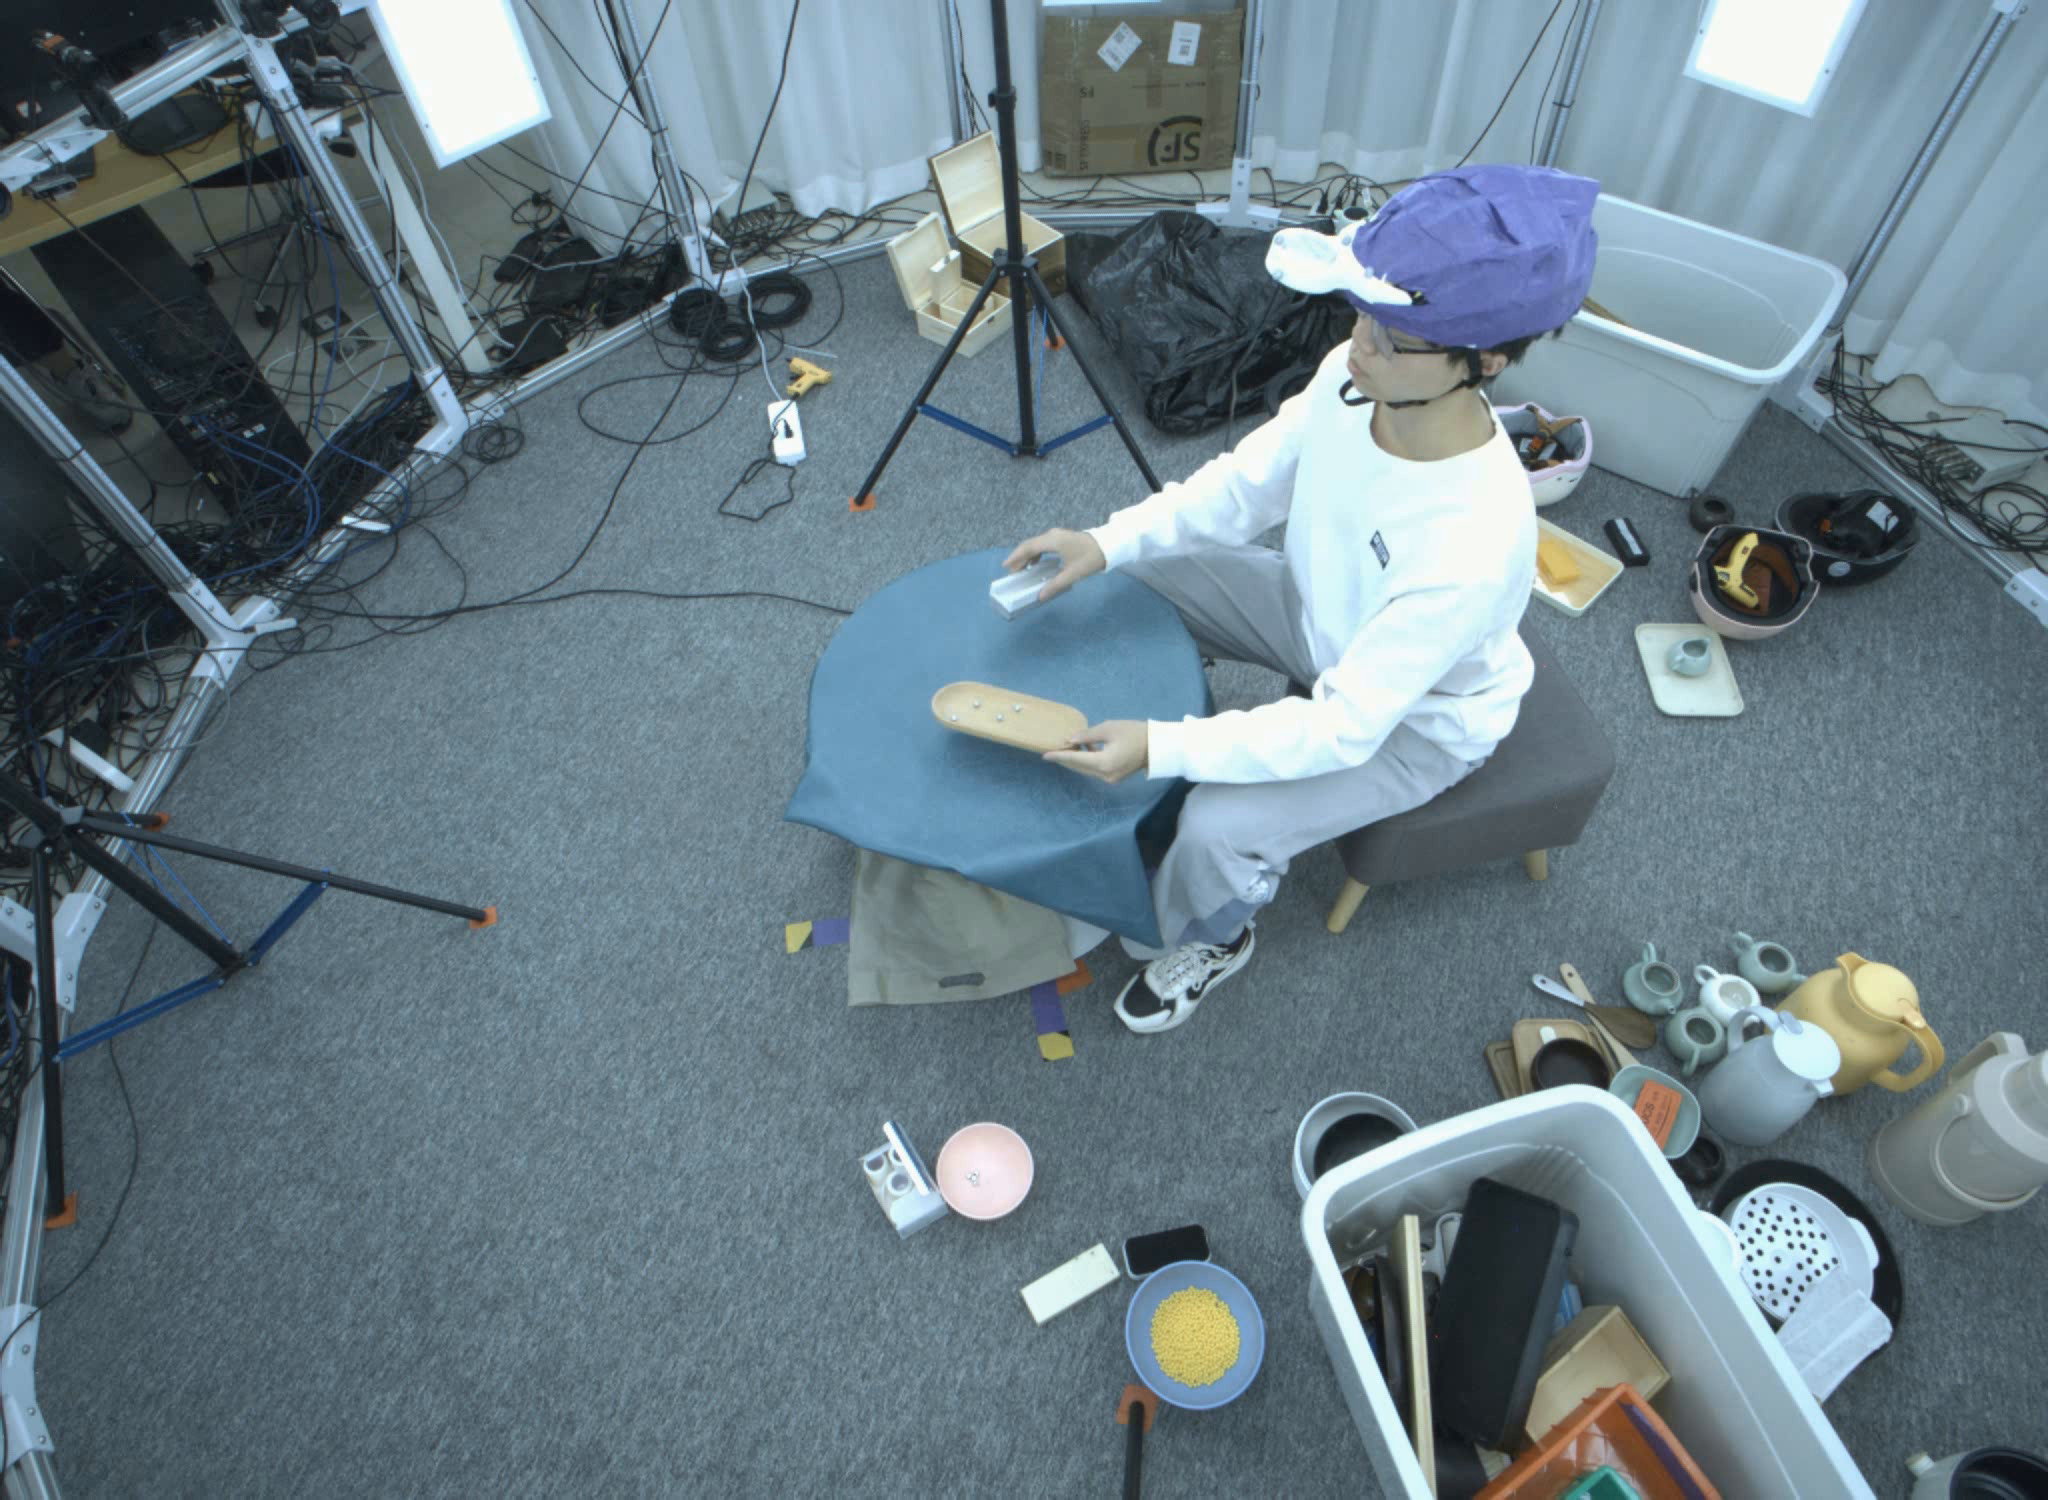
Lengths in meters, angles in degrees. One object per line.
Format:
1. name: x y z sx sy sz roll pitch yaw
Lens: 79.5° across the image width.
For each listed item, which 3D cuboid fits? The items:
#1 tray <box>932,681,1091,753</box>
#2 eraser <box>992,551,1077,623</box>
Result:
1. tray: -0.019 -0.047 1.733 0.229 0.020 0.101 15 44 11
2. eraser: 0.015 -0.247 1.860 0.136 0.047 0.049 -34 65 -32
